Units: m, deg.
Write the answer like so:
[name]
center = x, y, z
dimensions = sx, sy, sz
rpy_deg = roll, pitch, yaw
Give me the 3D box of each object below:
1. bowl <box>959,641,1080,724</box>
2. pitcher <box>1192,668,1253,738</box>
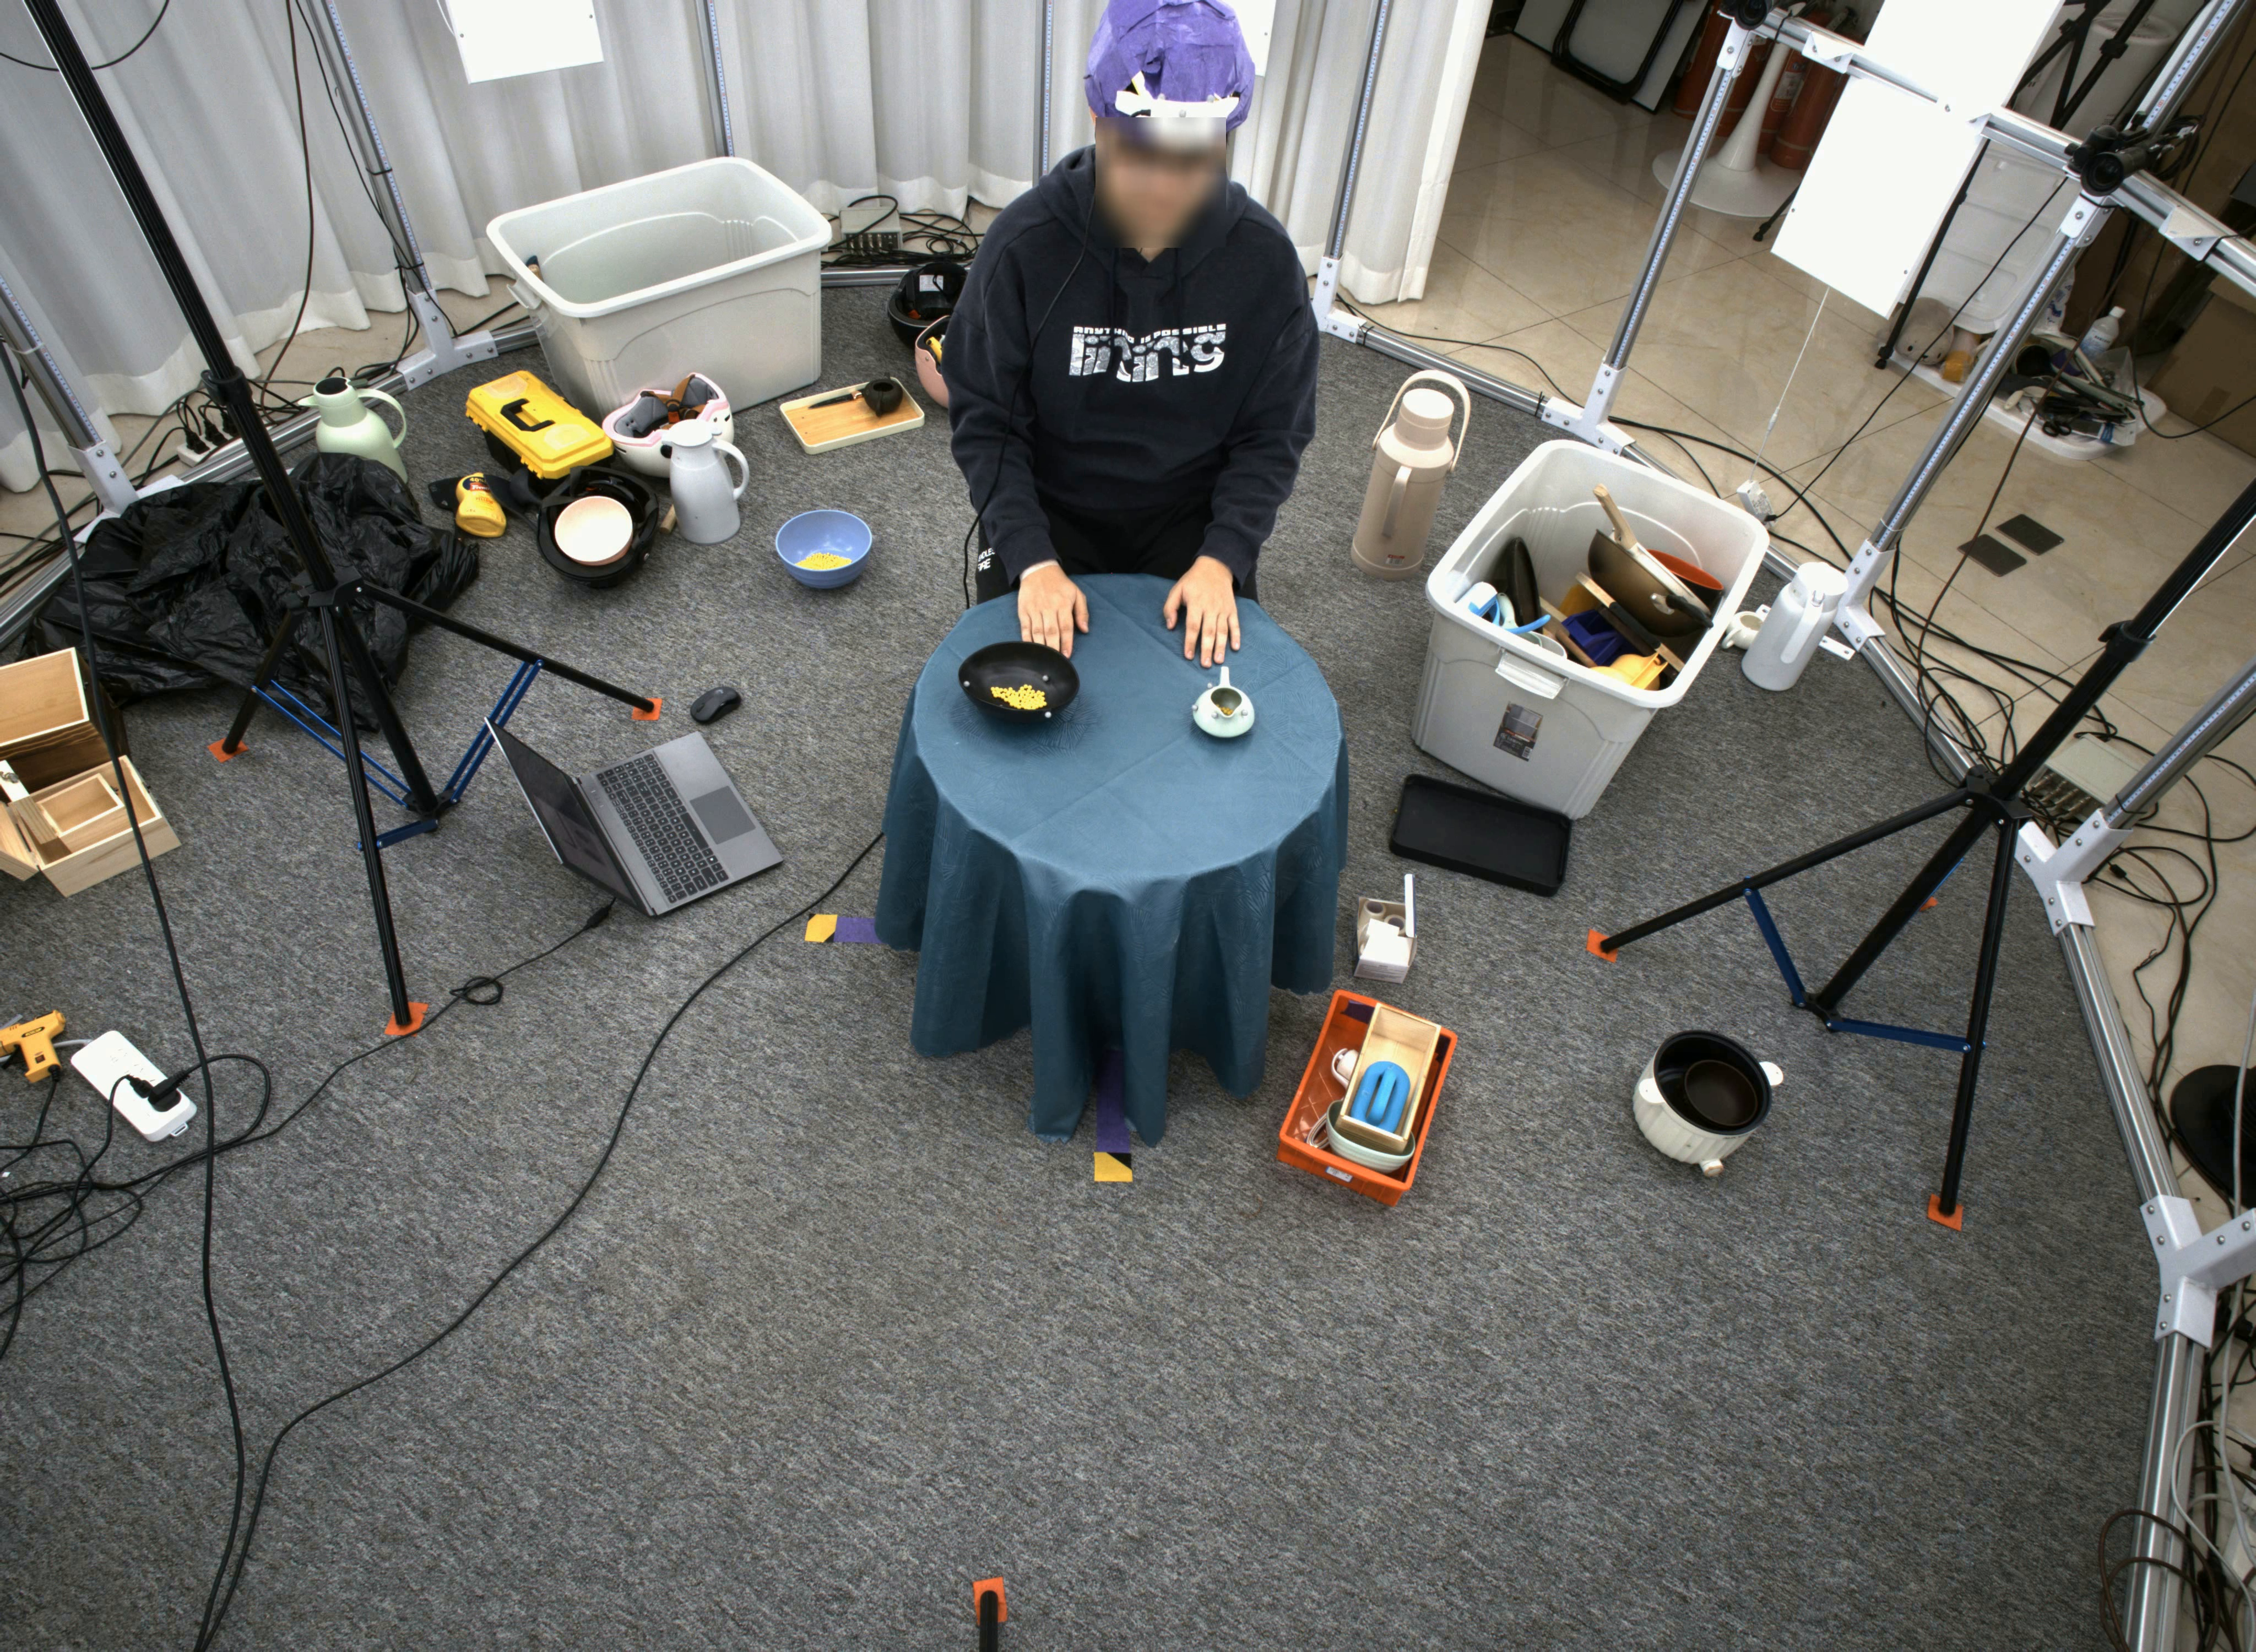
[bowl]
center = -0.151, -0.187, 1.776
dimensions = 0.170, 0.065, 0.140
rpy_deg = 12, 48, 7
[pitcher]
center = 0.133, -0.171, 1.788
dimensions = 0.086, 0.059, 0.111
rpy_deg = 2, 47, -4
